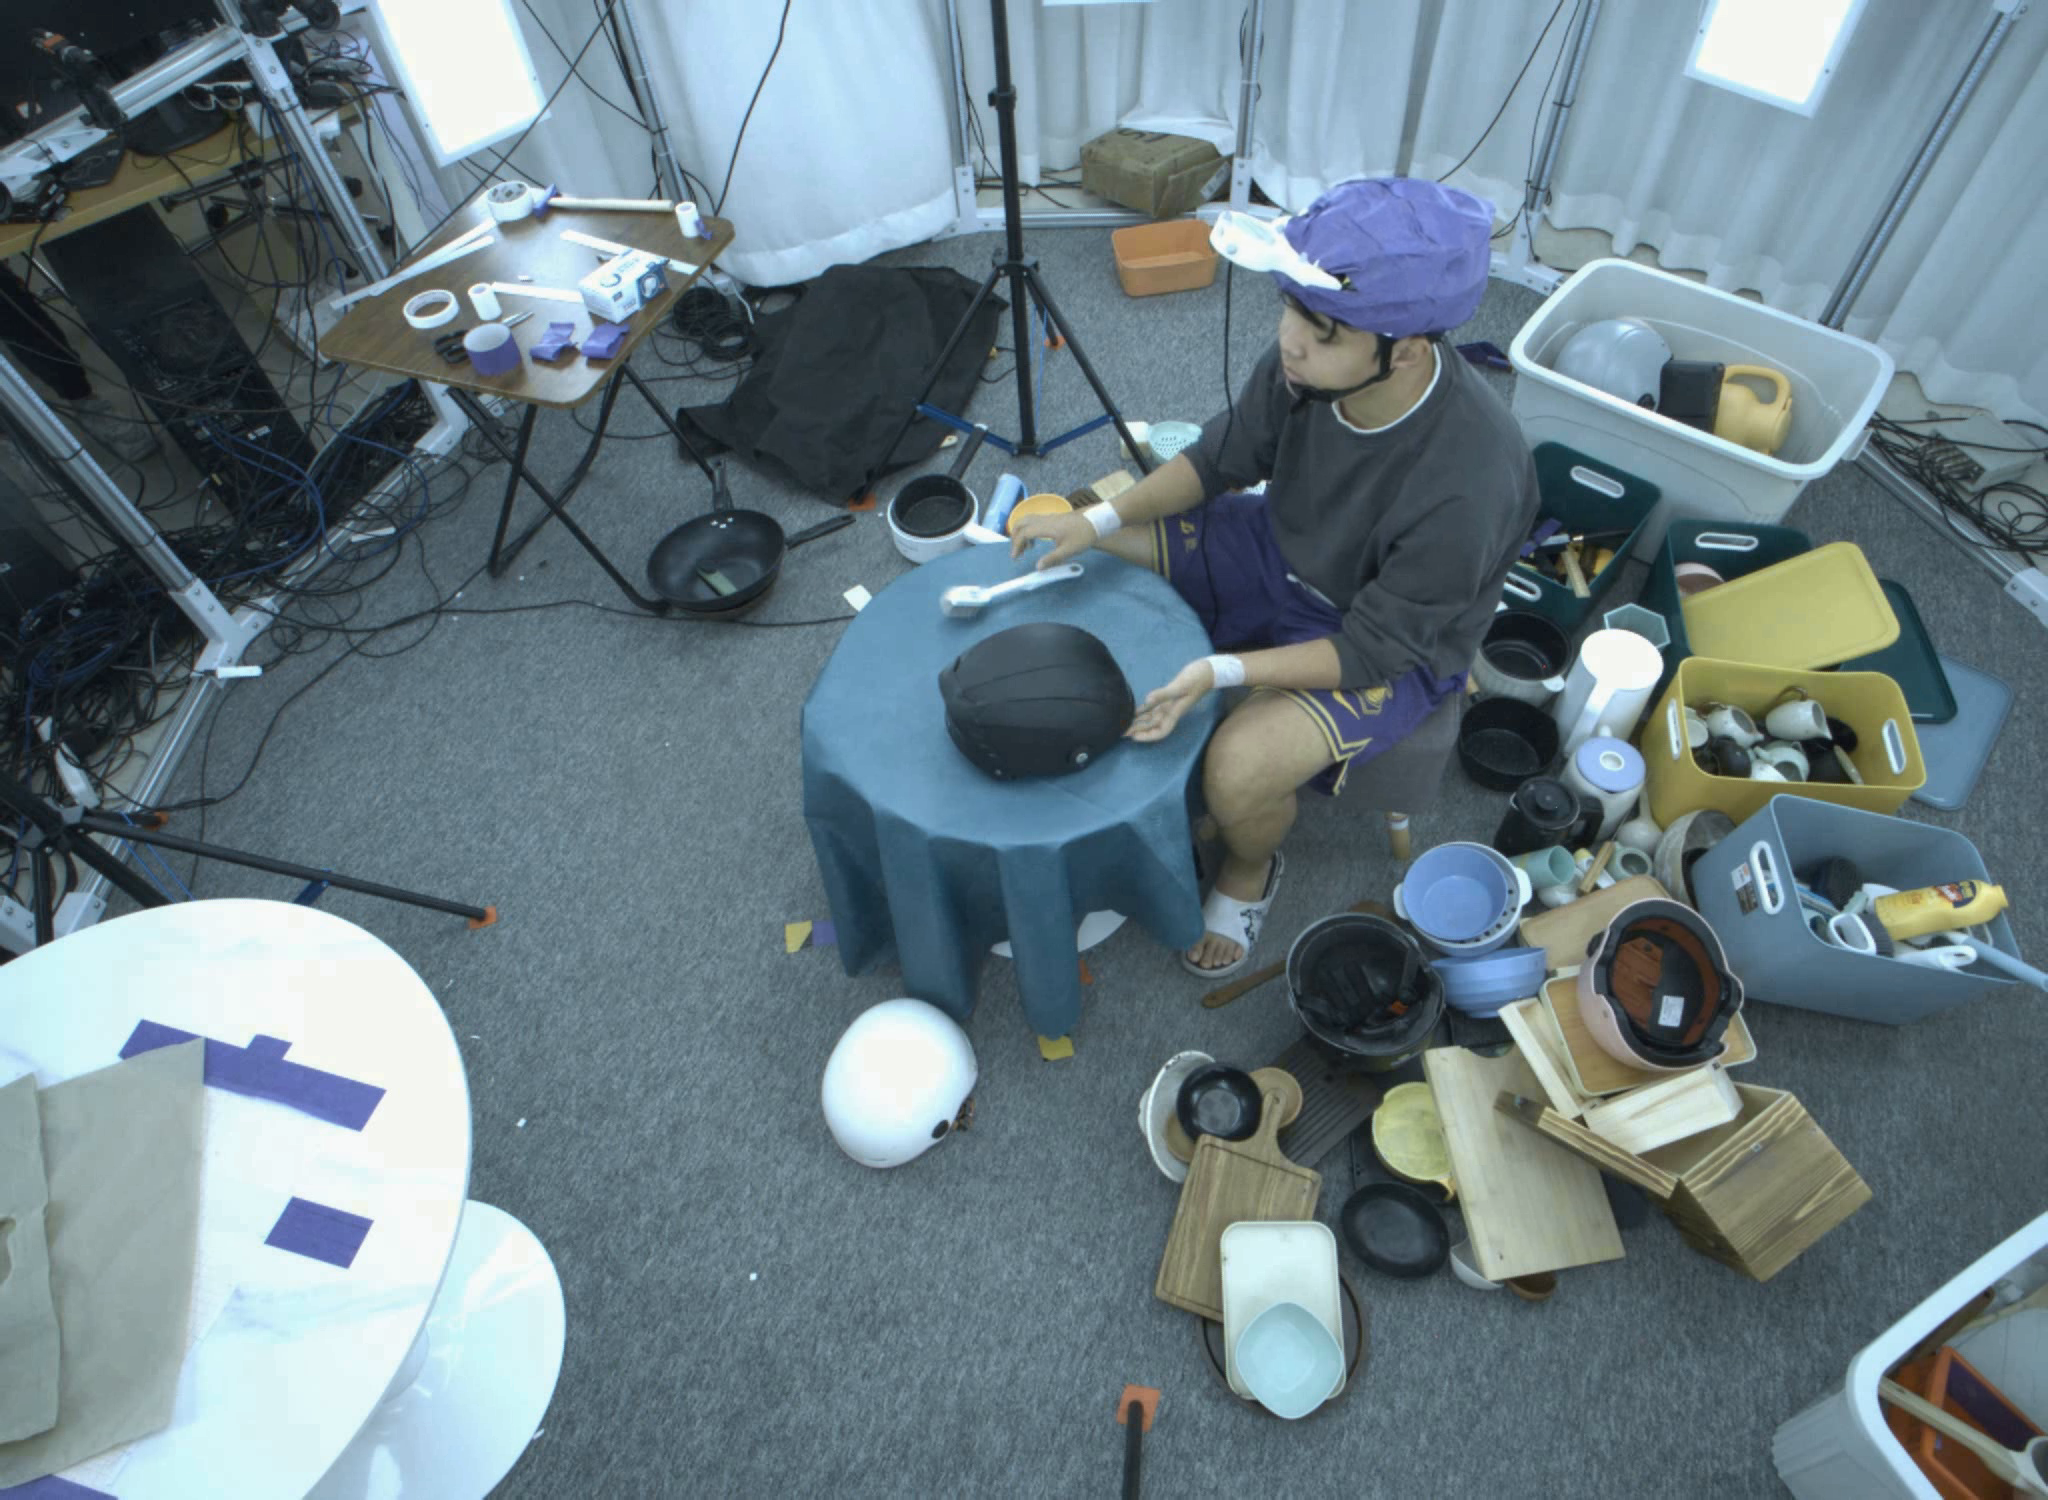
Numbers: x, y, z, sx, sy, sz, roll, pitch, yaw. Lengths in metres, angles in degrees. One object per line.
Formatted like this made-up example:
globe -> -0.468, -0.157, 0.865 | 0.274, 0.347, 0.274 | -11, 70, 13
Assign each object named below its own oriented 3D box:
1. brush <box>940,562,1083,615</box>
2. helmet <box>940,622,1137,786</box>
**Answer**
brush -> -0.019, -0.257, 1.959 | 0.247, 0.050, 0.034 | -16, 61, -25
helmet -> 0.019, -0.086, 1.752 | 0.278, 0.174, 0.242 | -15, 56, -6
